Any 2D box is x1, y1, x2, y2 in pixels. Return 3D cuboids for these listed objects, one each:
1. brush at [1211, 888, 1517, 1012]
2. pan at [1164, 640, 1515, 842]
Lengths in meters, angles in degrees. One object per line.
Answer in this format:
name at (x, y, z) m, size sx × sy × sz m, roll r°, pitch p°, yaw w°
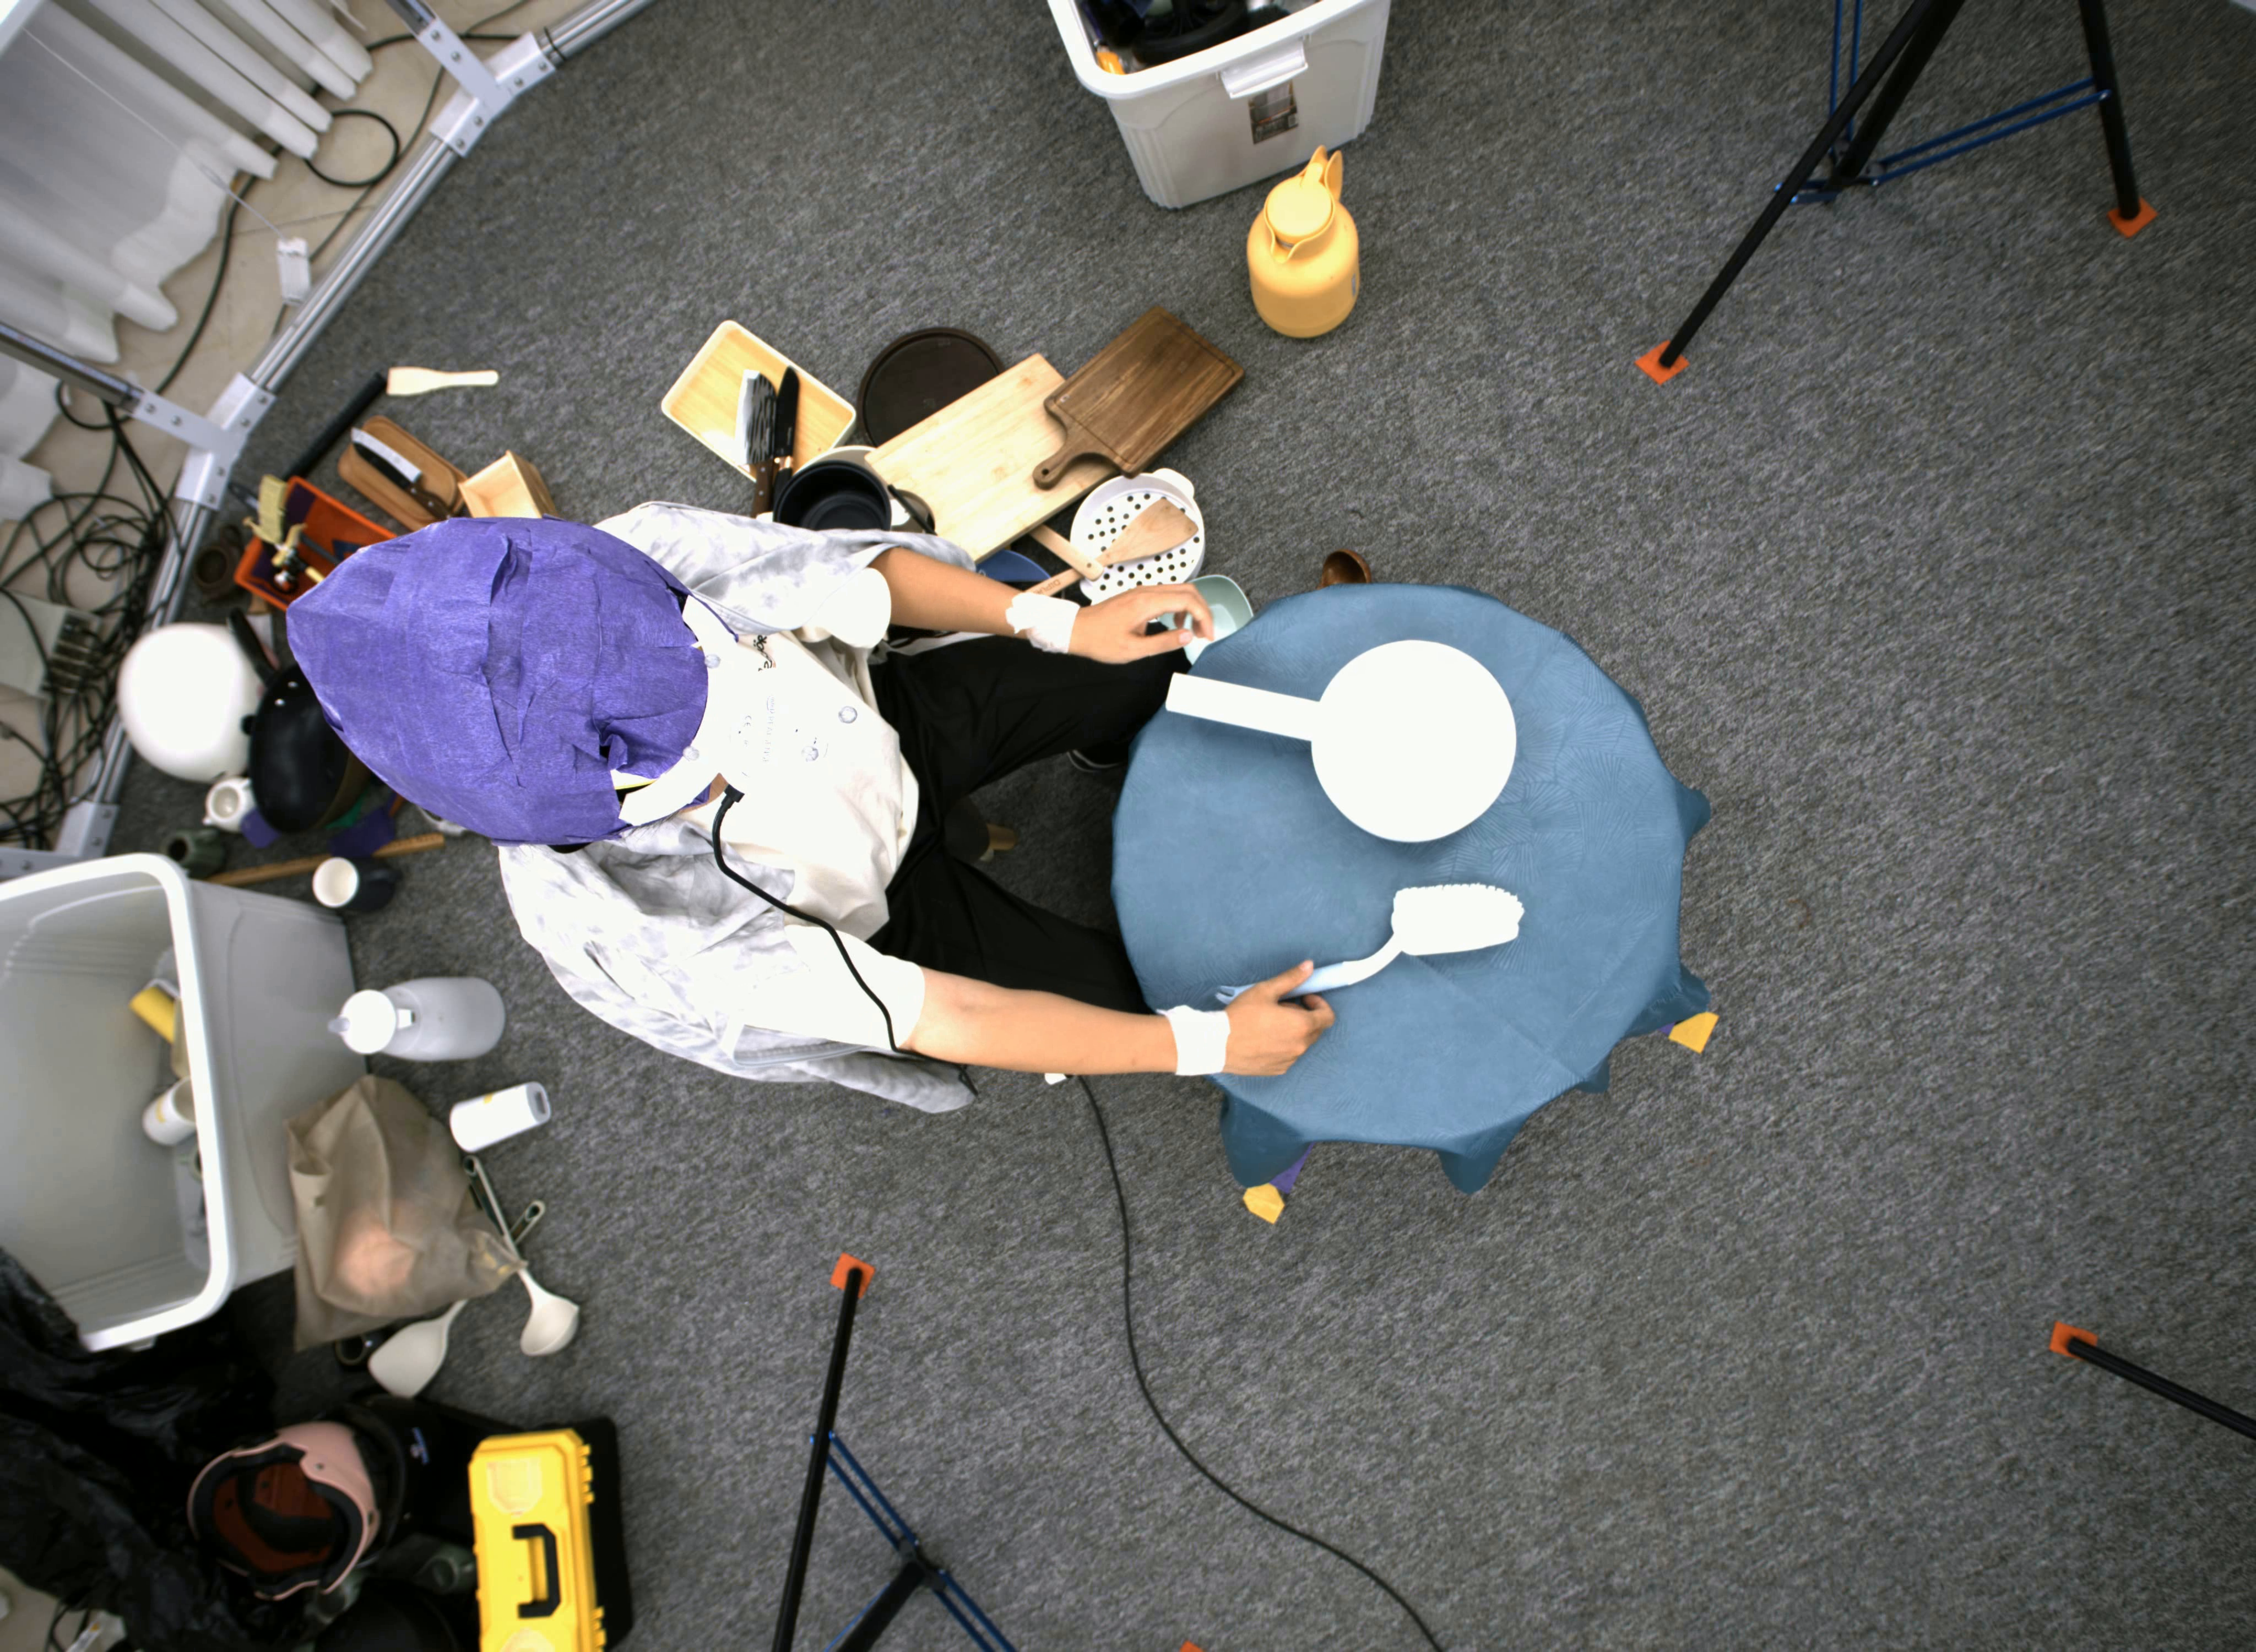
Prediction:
brush at (0.236, 0.120, 1.421) m, size 0.327 × 0.083 × 0.084 m, roll -14°, pitch 87°, yaw 9°
pan at (0.217, -0.100, 1.427) m, size 0.355 × 0.102 × 0.201 m, roll 13°, pitch 89°, yaw 12°
